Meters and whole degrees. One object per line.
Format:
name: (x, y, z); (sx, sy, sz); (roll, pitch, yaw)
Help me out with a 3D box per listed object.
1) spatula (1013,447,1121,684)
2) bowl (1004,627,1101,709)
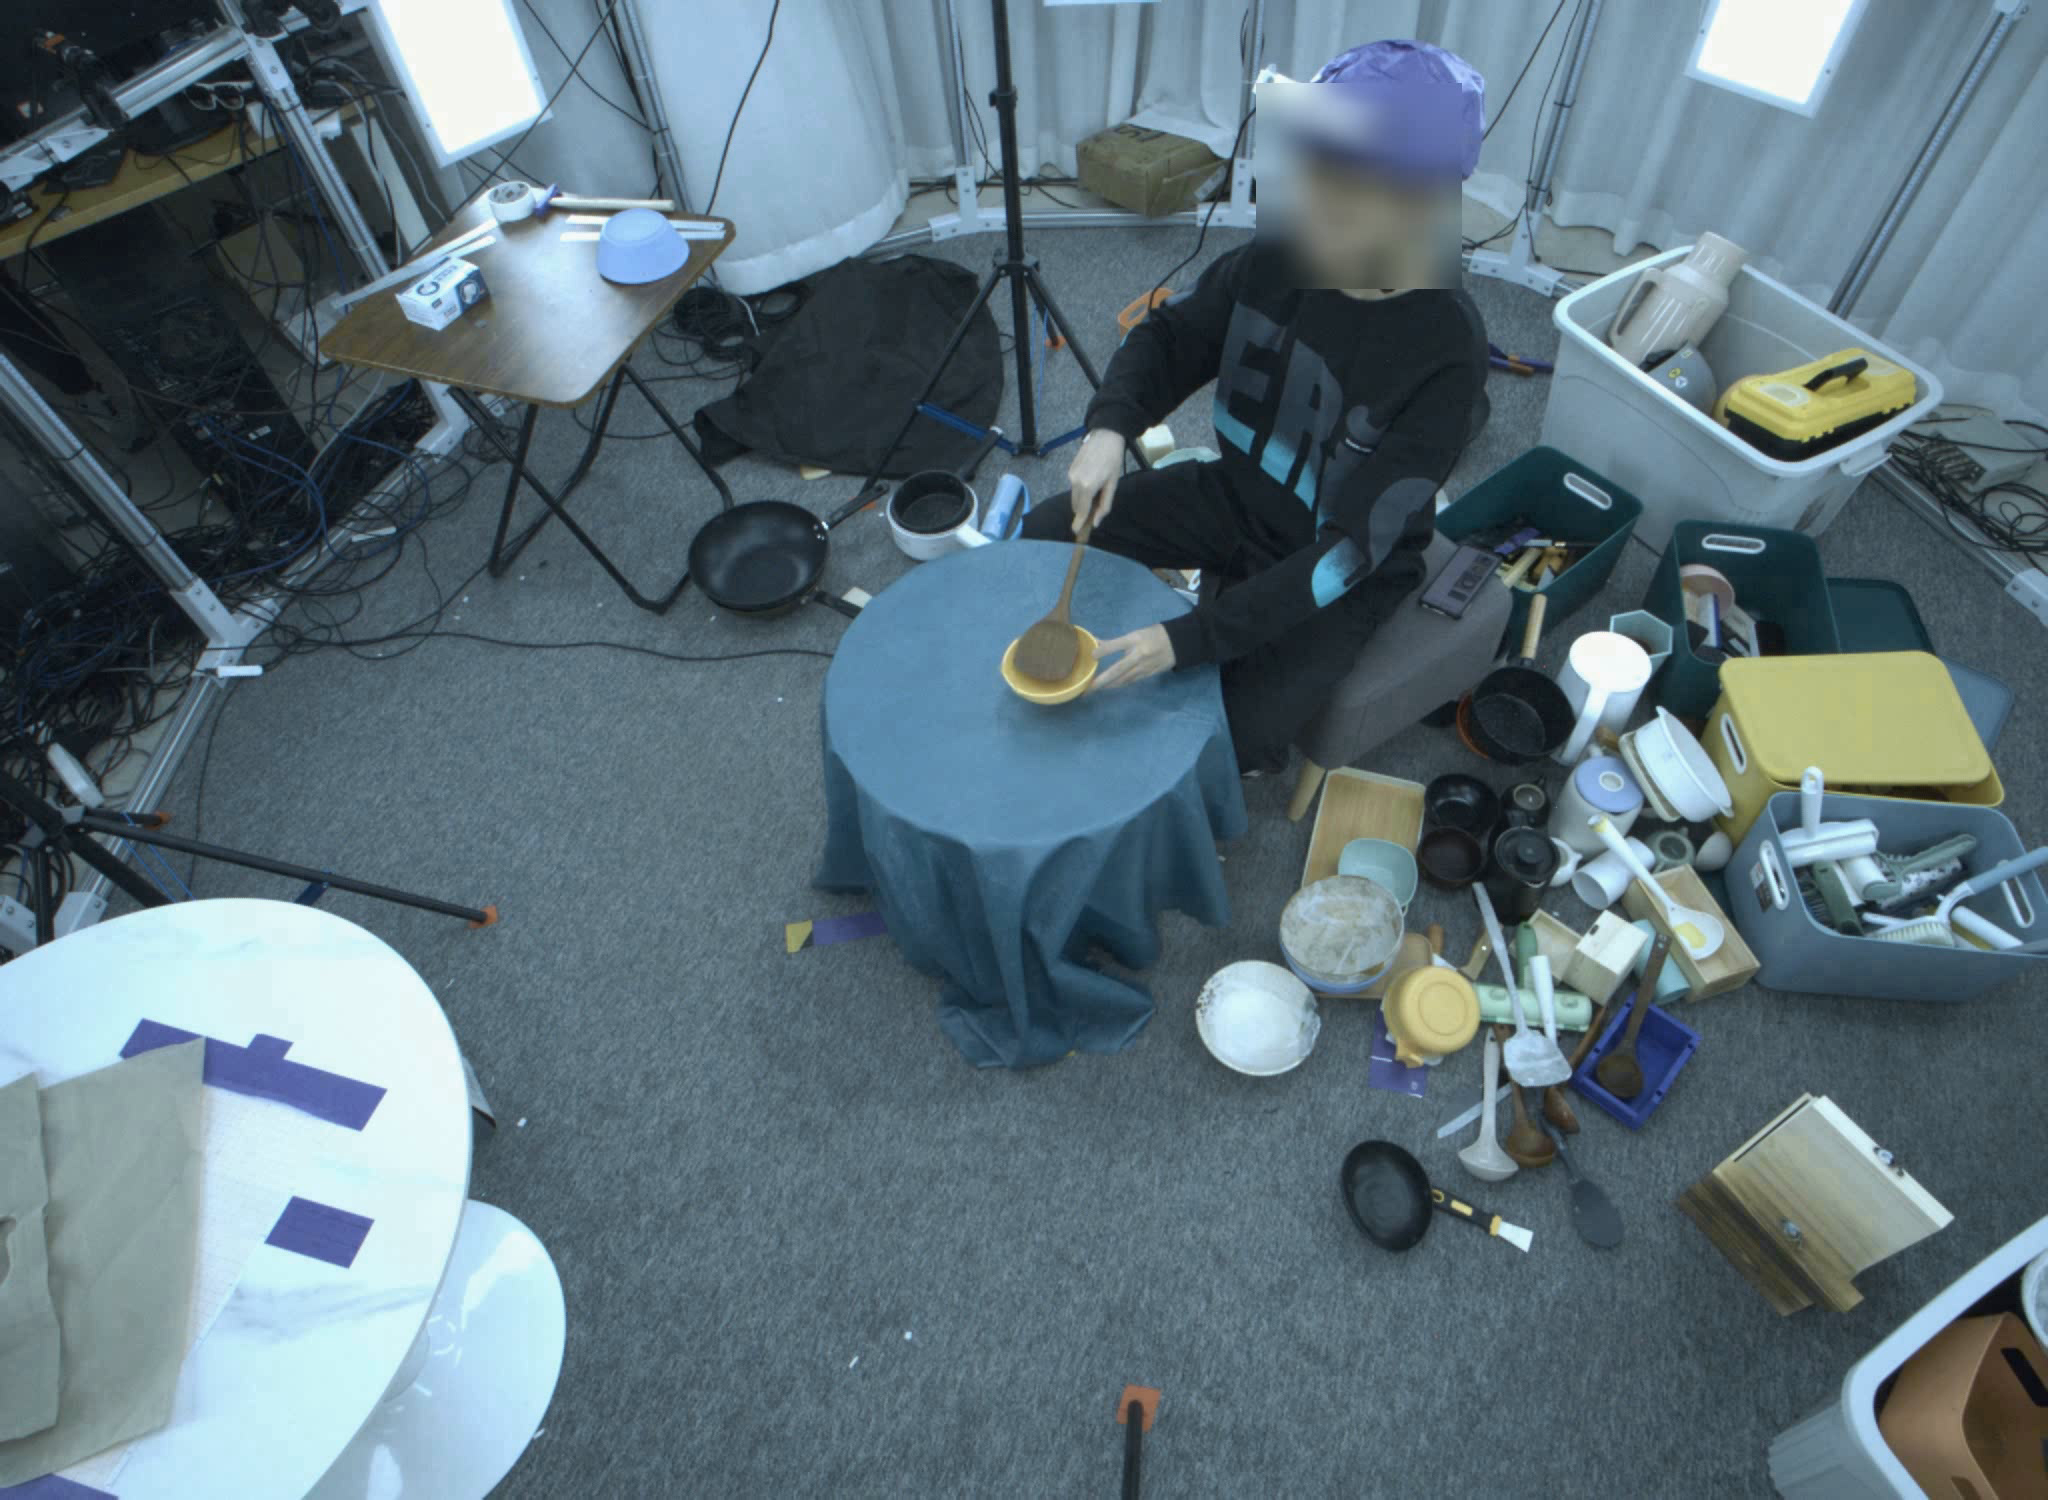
spatula: (0.078, -0.281, 1.830); (0.095, 0.016, 0.385); (15, 83, 18)
bowl: (0.045, -0.110, 1.819); (0.145, 0.061, 0.144); (-4, 53, 6)
